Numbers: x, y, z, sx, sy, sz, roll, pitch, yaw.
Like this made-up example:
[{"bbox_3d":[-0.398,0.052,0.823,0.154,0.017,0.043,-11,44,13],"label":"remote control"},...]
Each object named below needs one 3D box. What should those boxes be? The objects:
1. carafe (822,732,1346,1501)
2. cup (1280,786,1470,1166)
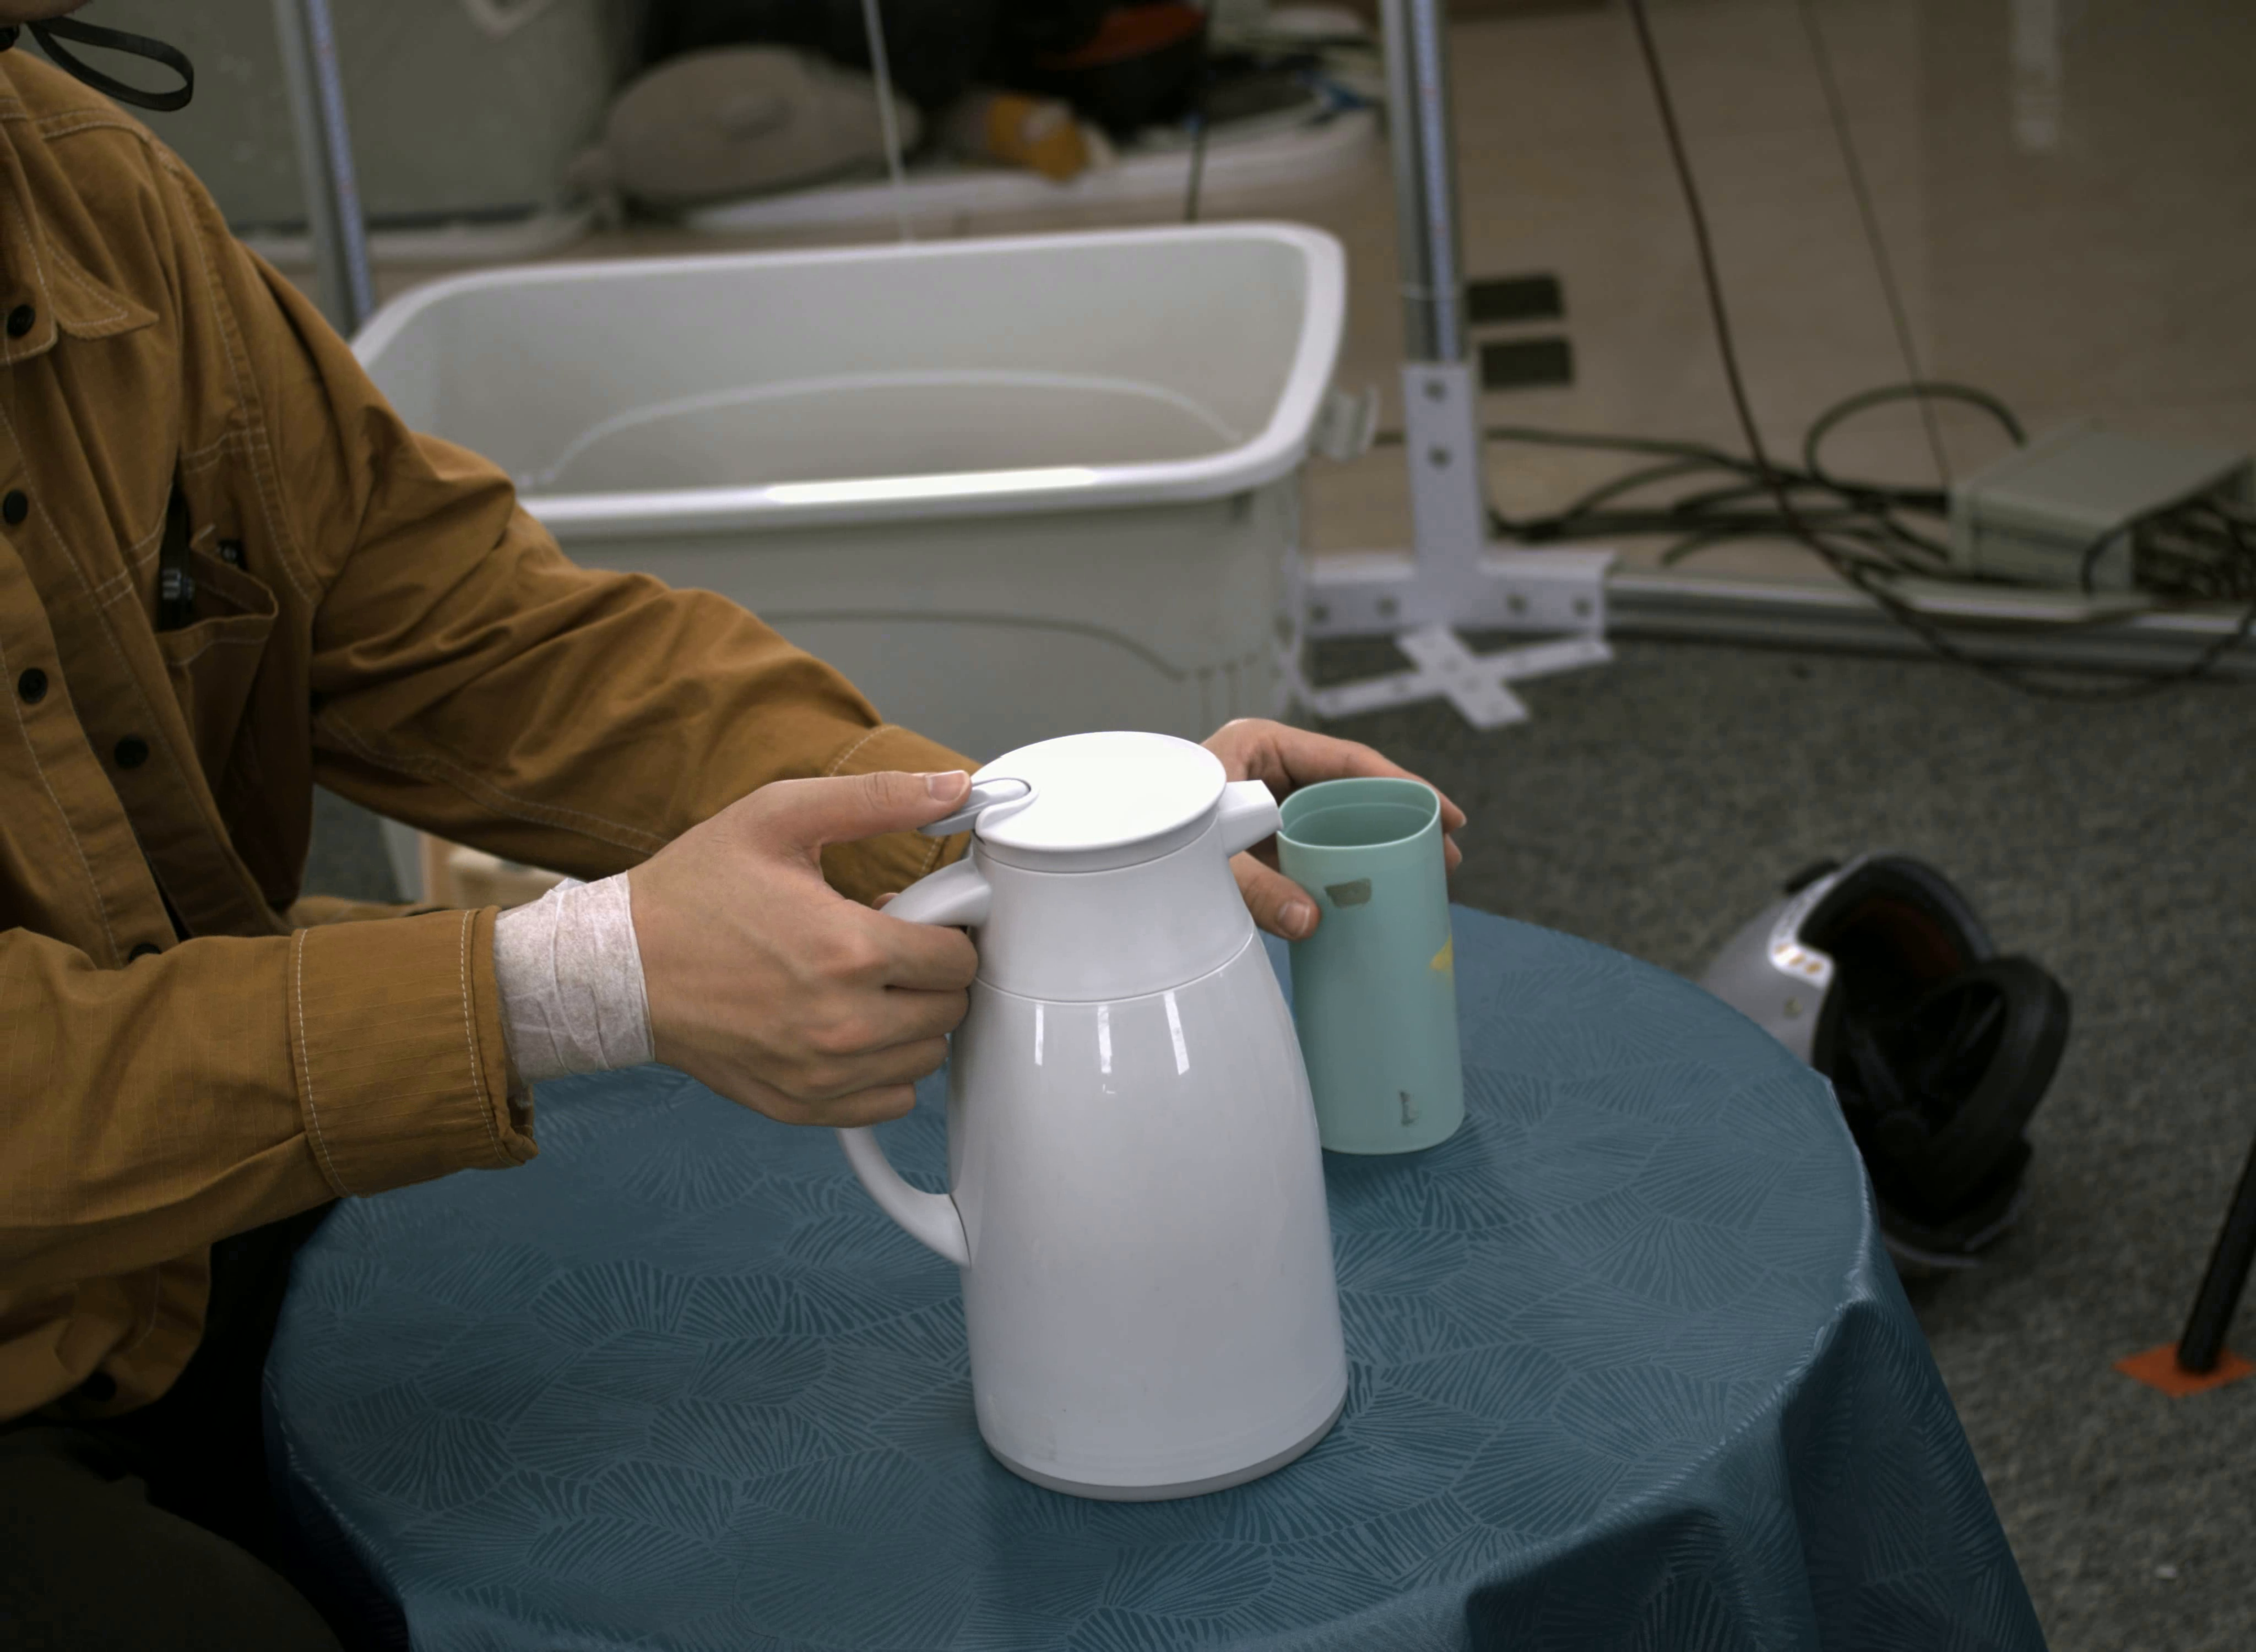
[{"bbox_3d":[-0.018,0.097,1.947,0.167,0.252,0.130,-12,27,-11],"label":"carafe"},{"bbox_3d":[0.093,0.057,2.155,0.066,0.134,0.066,-5,26,2],"label":"cup"}]
